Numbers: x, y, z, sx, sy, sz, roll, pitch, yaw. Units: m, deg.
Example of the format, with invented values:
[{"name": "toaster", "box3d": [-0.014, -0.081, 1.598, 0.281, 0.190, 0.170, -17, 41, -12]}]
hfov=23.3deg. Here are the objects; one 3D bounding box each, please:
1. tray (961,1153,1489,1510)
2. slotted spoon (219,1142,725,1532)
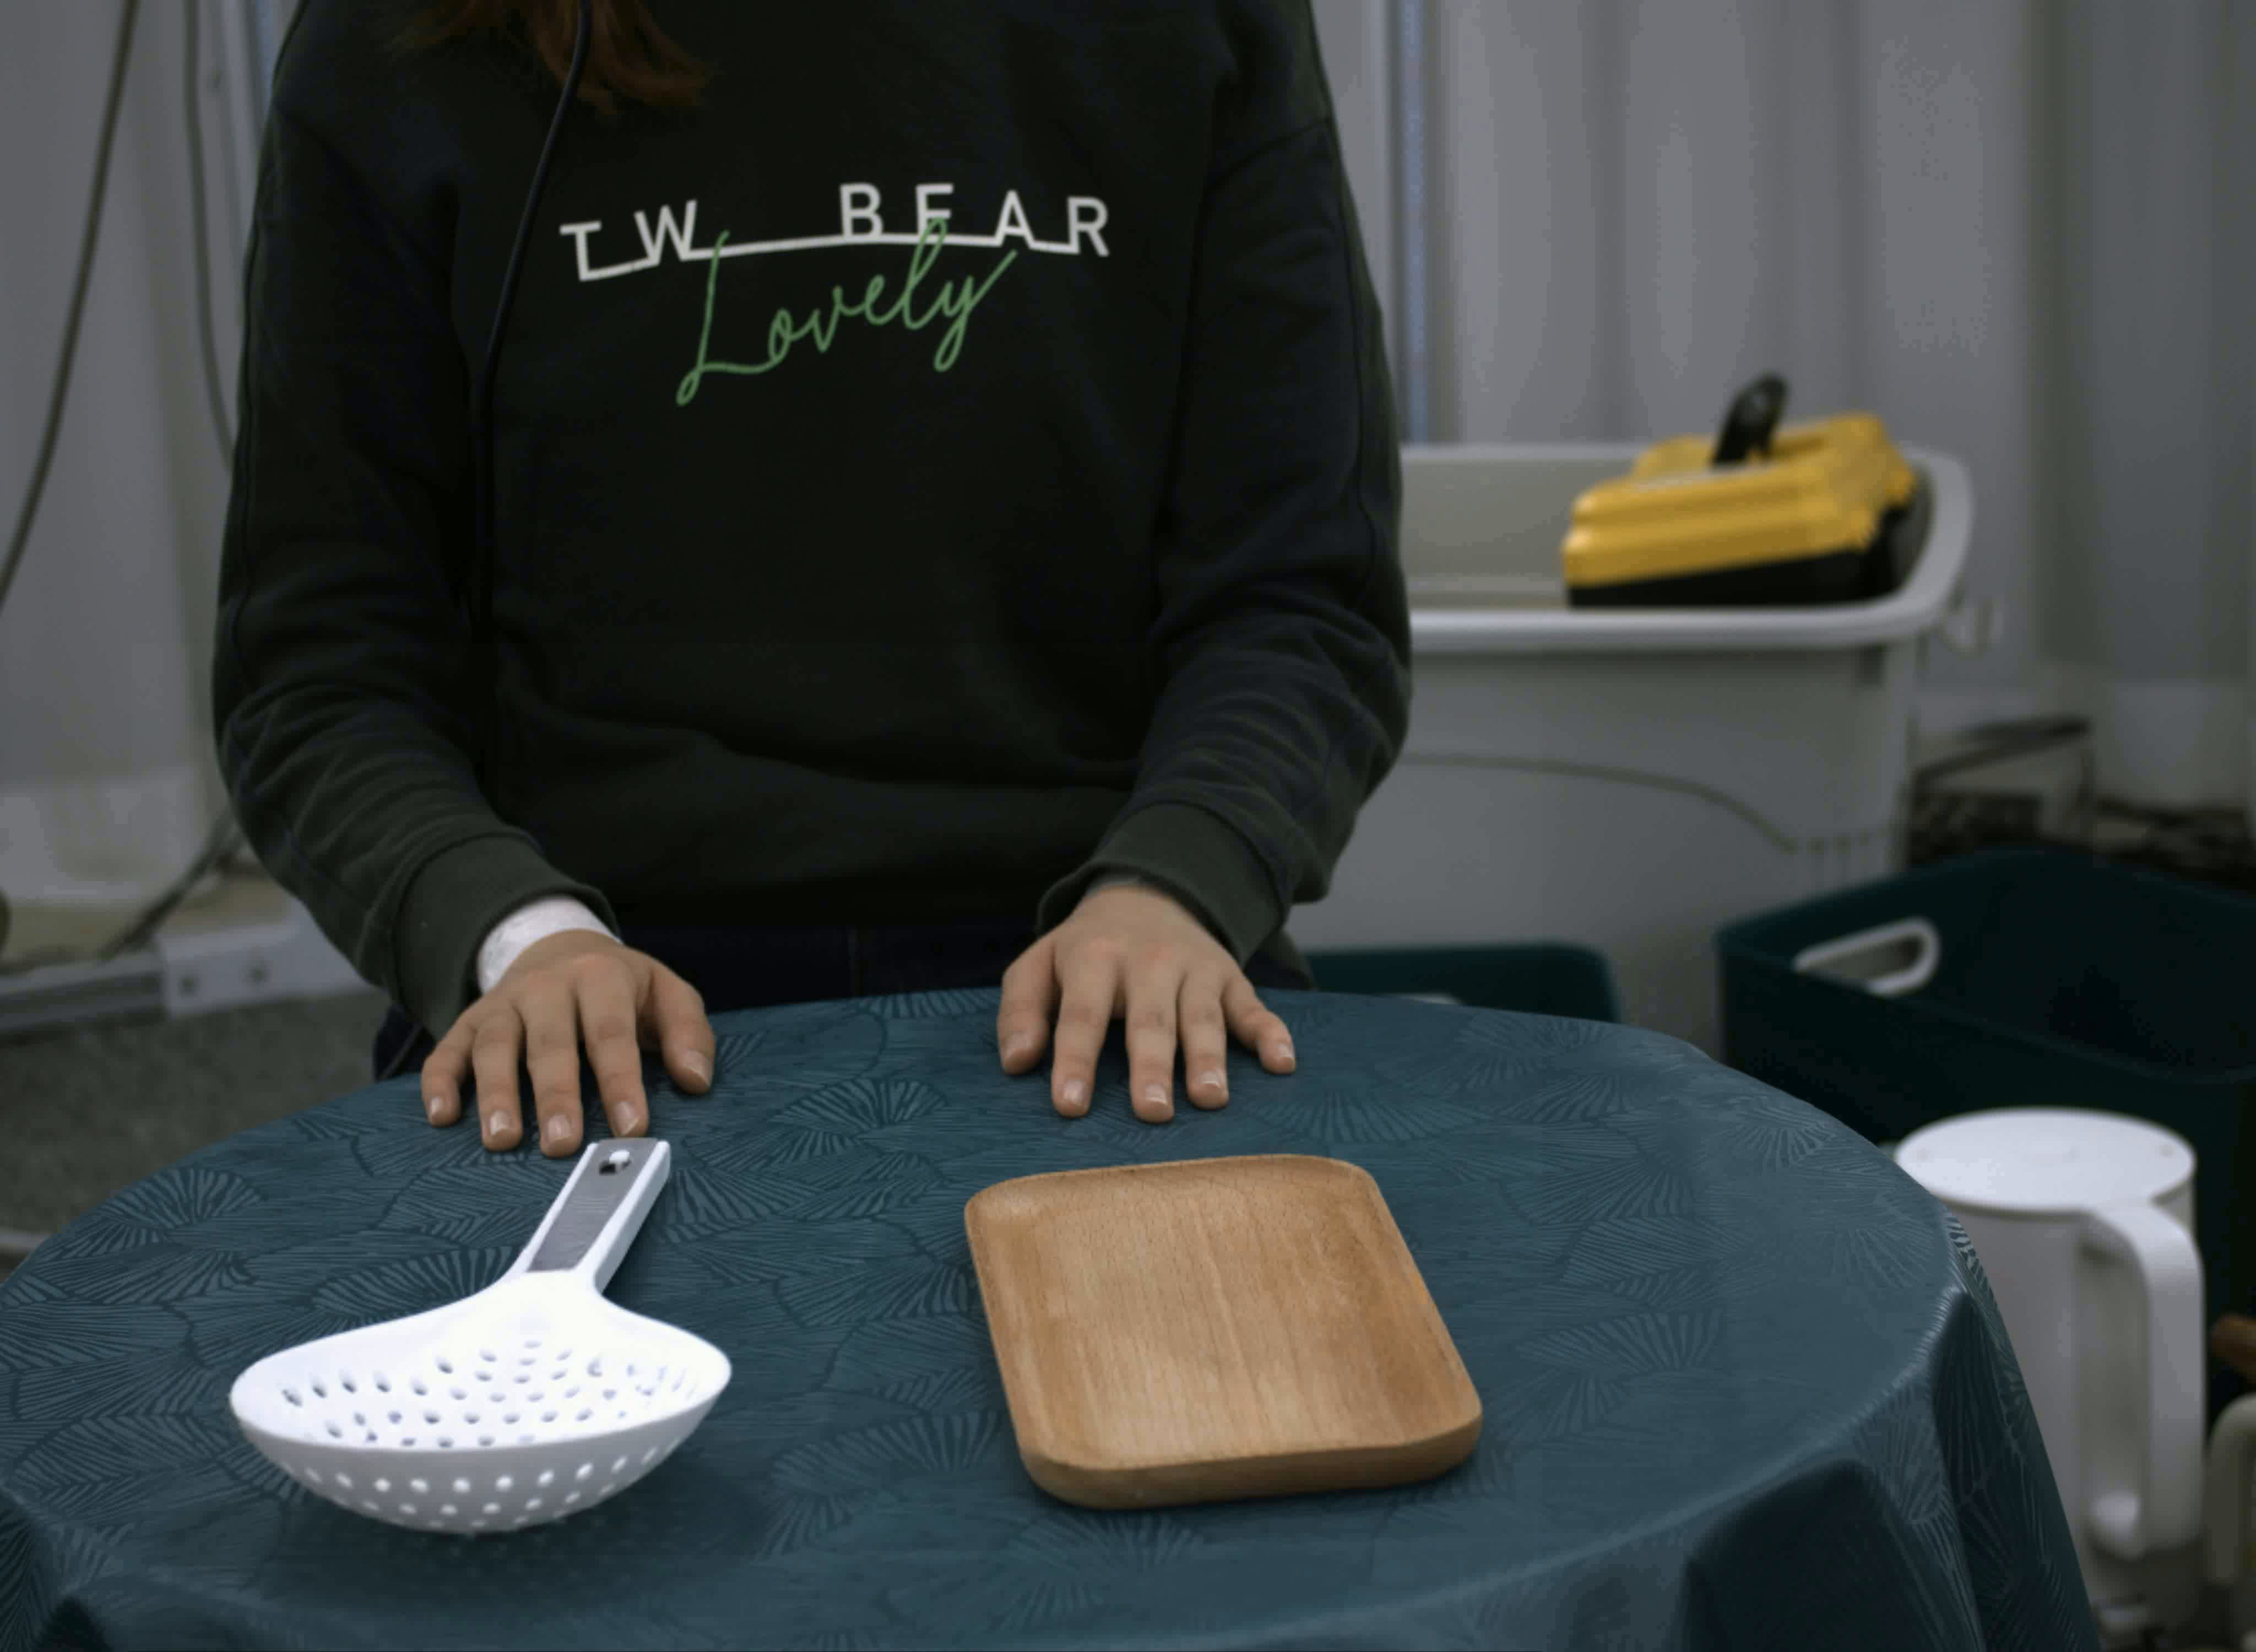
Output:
[{"name": "tray", "box3d": [0.024, 0.143, 1.574, 0.130, 0.023, 0.252, -2, 14, -5]}, {"name": "slotted spoon", "box3d": [-0.169, 0.137, 1.574, 0.135, 0.045, 0.352, 0, 14, 4]}]
